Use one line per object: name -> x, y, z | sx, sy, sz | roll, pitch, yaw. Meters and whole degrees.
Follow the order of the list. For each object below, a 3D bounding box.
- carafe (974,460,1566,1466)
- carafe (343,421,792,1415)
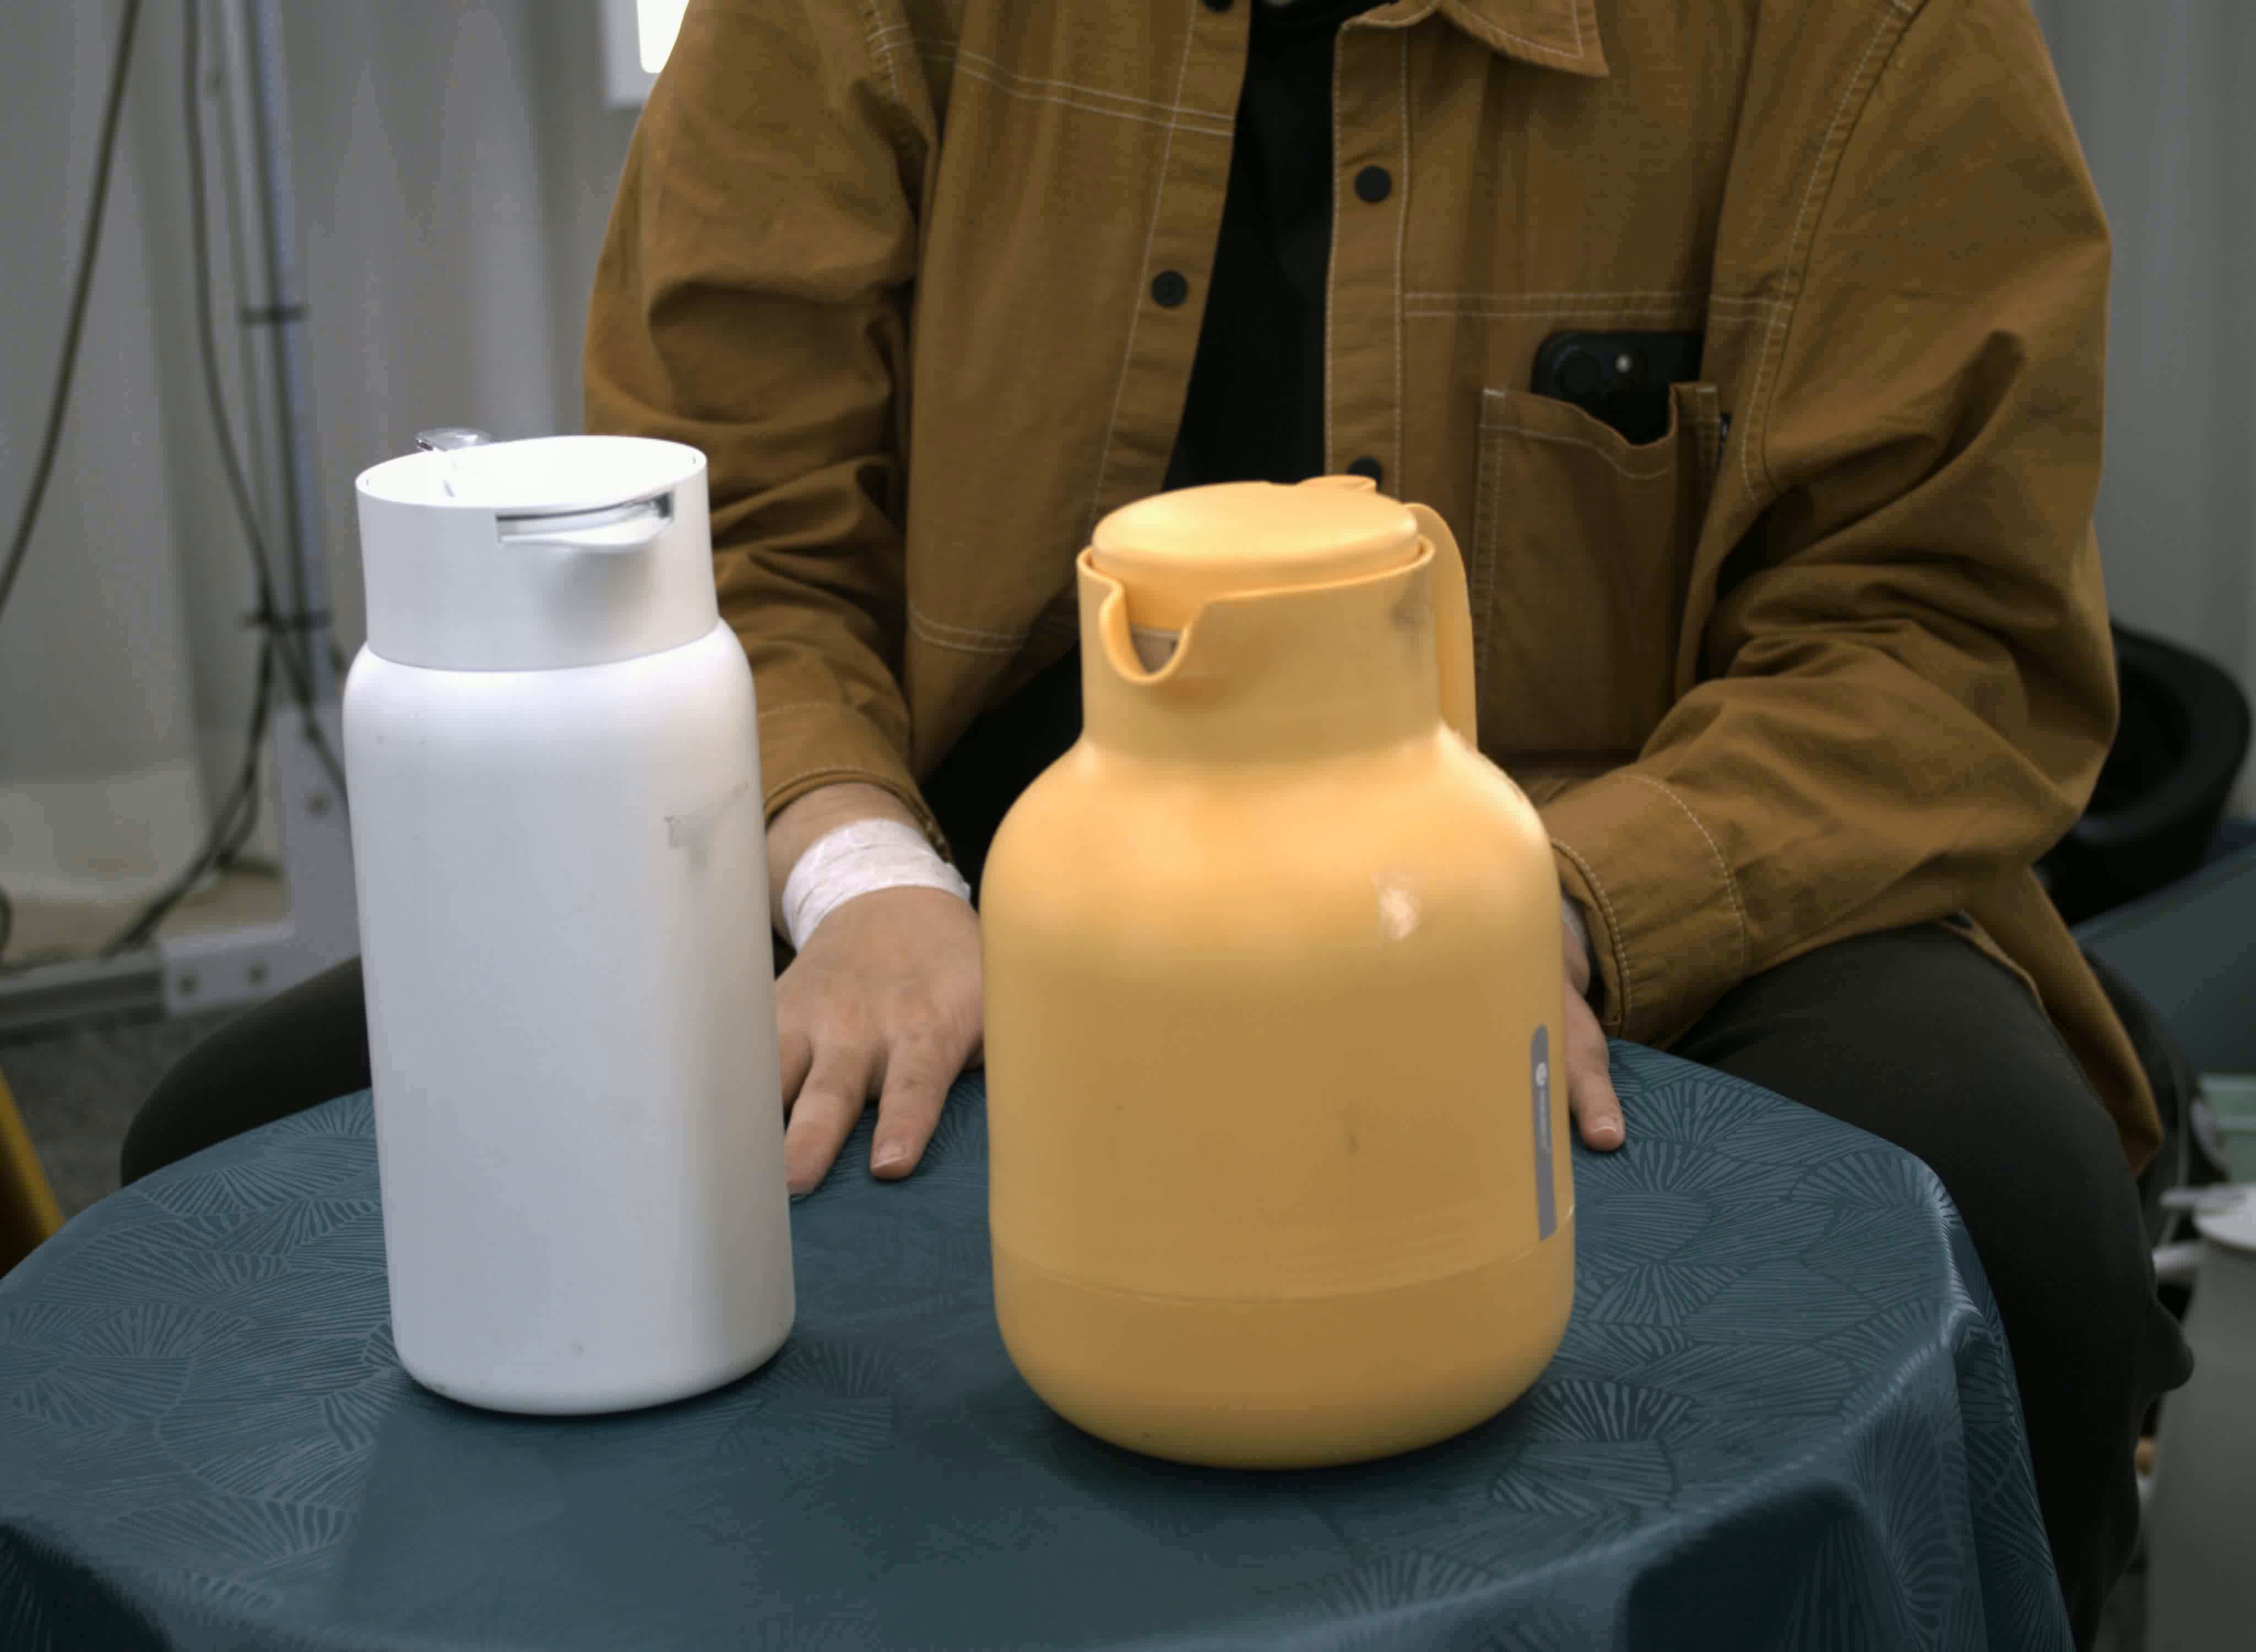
carafe -> 0.048, 0.029, 1.517 | 0.164, 0.259, 0.203 | 8, 19, 27
carafe -> -0.170, 0.023, 1.577 | 0.123, 0.268, 0.174 | -12, 16, -26
